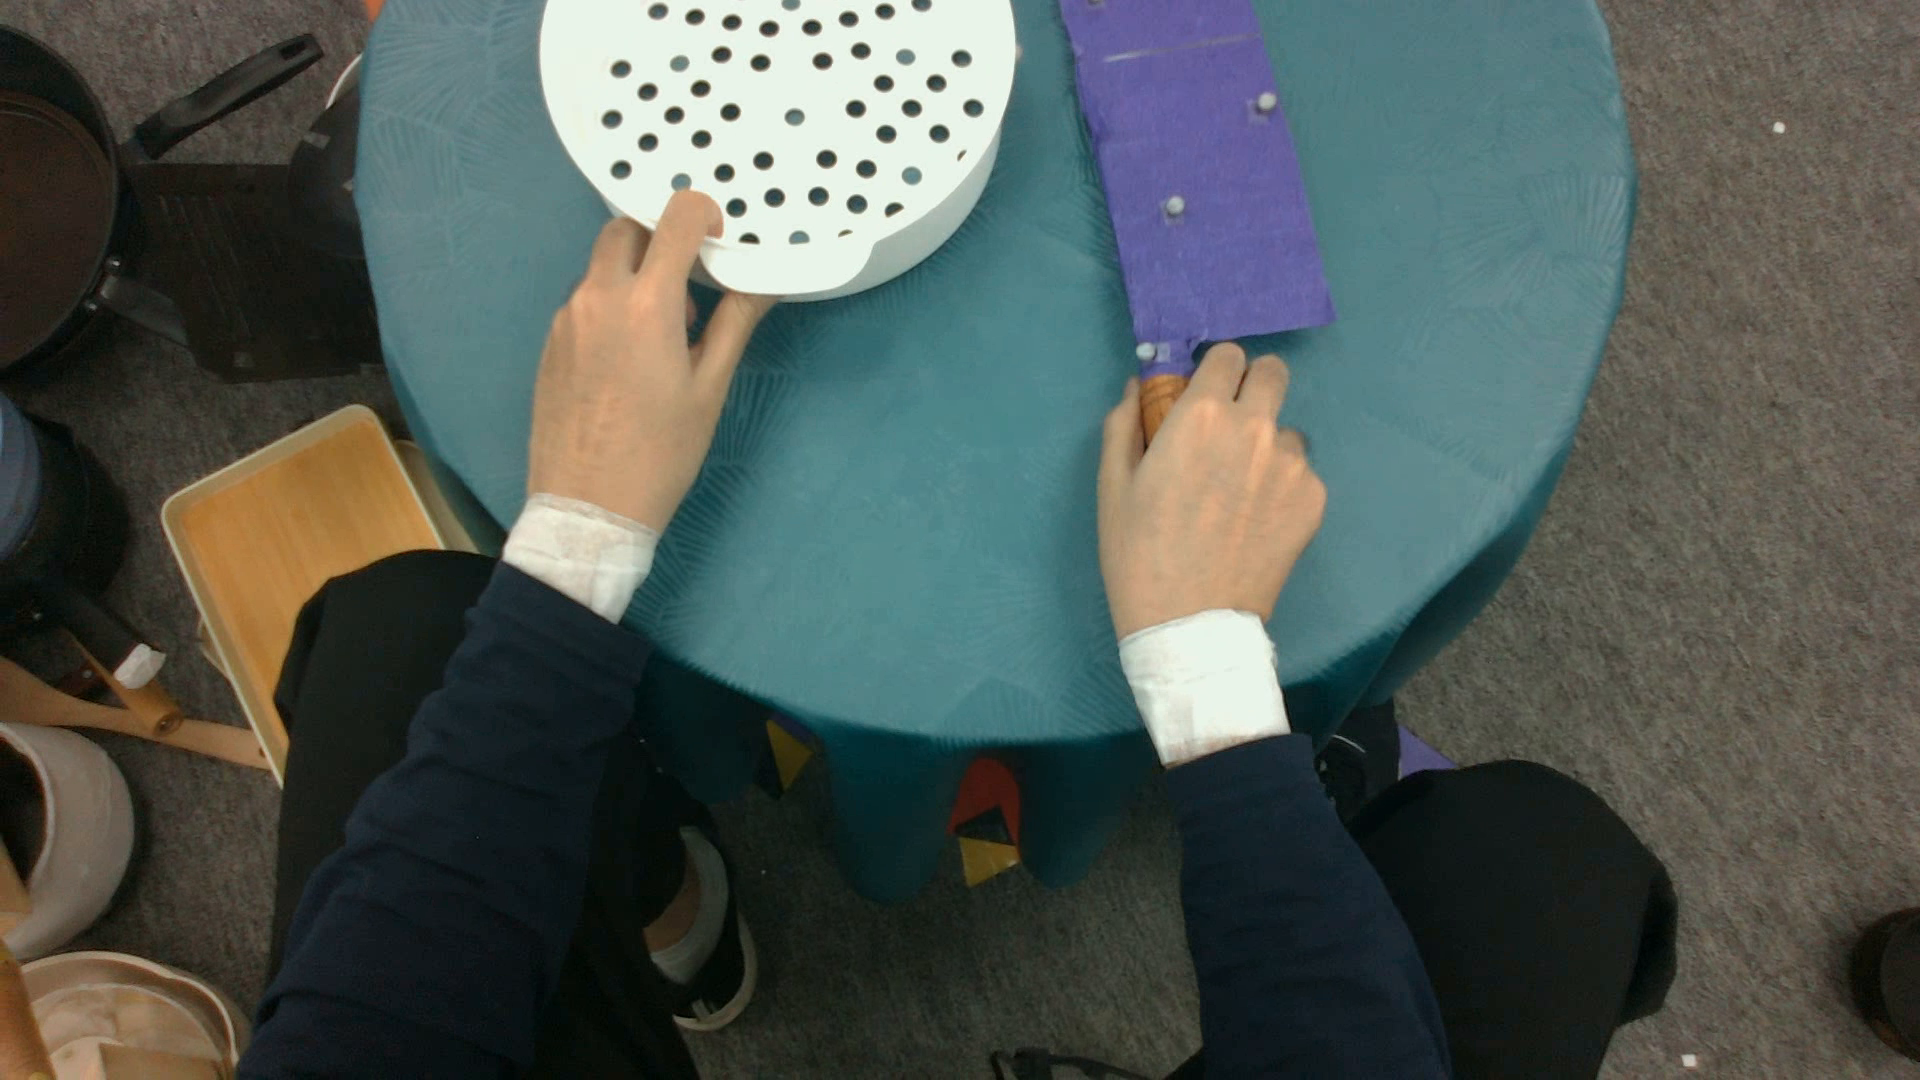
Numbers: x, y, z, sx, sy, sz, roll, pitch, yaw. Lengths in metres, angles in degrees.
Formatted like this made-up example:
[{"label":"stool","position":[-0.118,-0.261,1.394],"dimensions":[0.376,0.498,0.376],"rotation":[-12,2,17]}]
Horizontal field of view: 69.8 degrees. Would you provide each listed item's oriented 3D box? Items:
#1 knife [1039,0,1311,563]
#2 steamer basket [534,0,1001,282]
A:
[{"label":"knife","position":[0.105,-0.147,0.622],"dimensions":[0.104,0.032,0.316],"rotation":[-9,74,-3]},{"label":"steamer basket","position":[-0.083,-0.216,0.620],"dimensions":[0.202,0.069,0.231],"rotation":[-2,79,-1]}]
